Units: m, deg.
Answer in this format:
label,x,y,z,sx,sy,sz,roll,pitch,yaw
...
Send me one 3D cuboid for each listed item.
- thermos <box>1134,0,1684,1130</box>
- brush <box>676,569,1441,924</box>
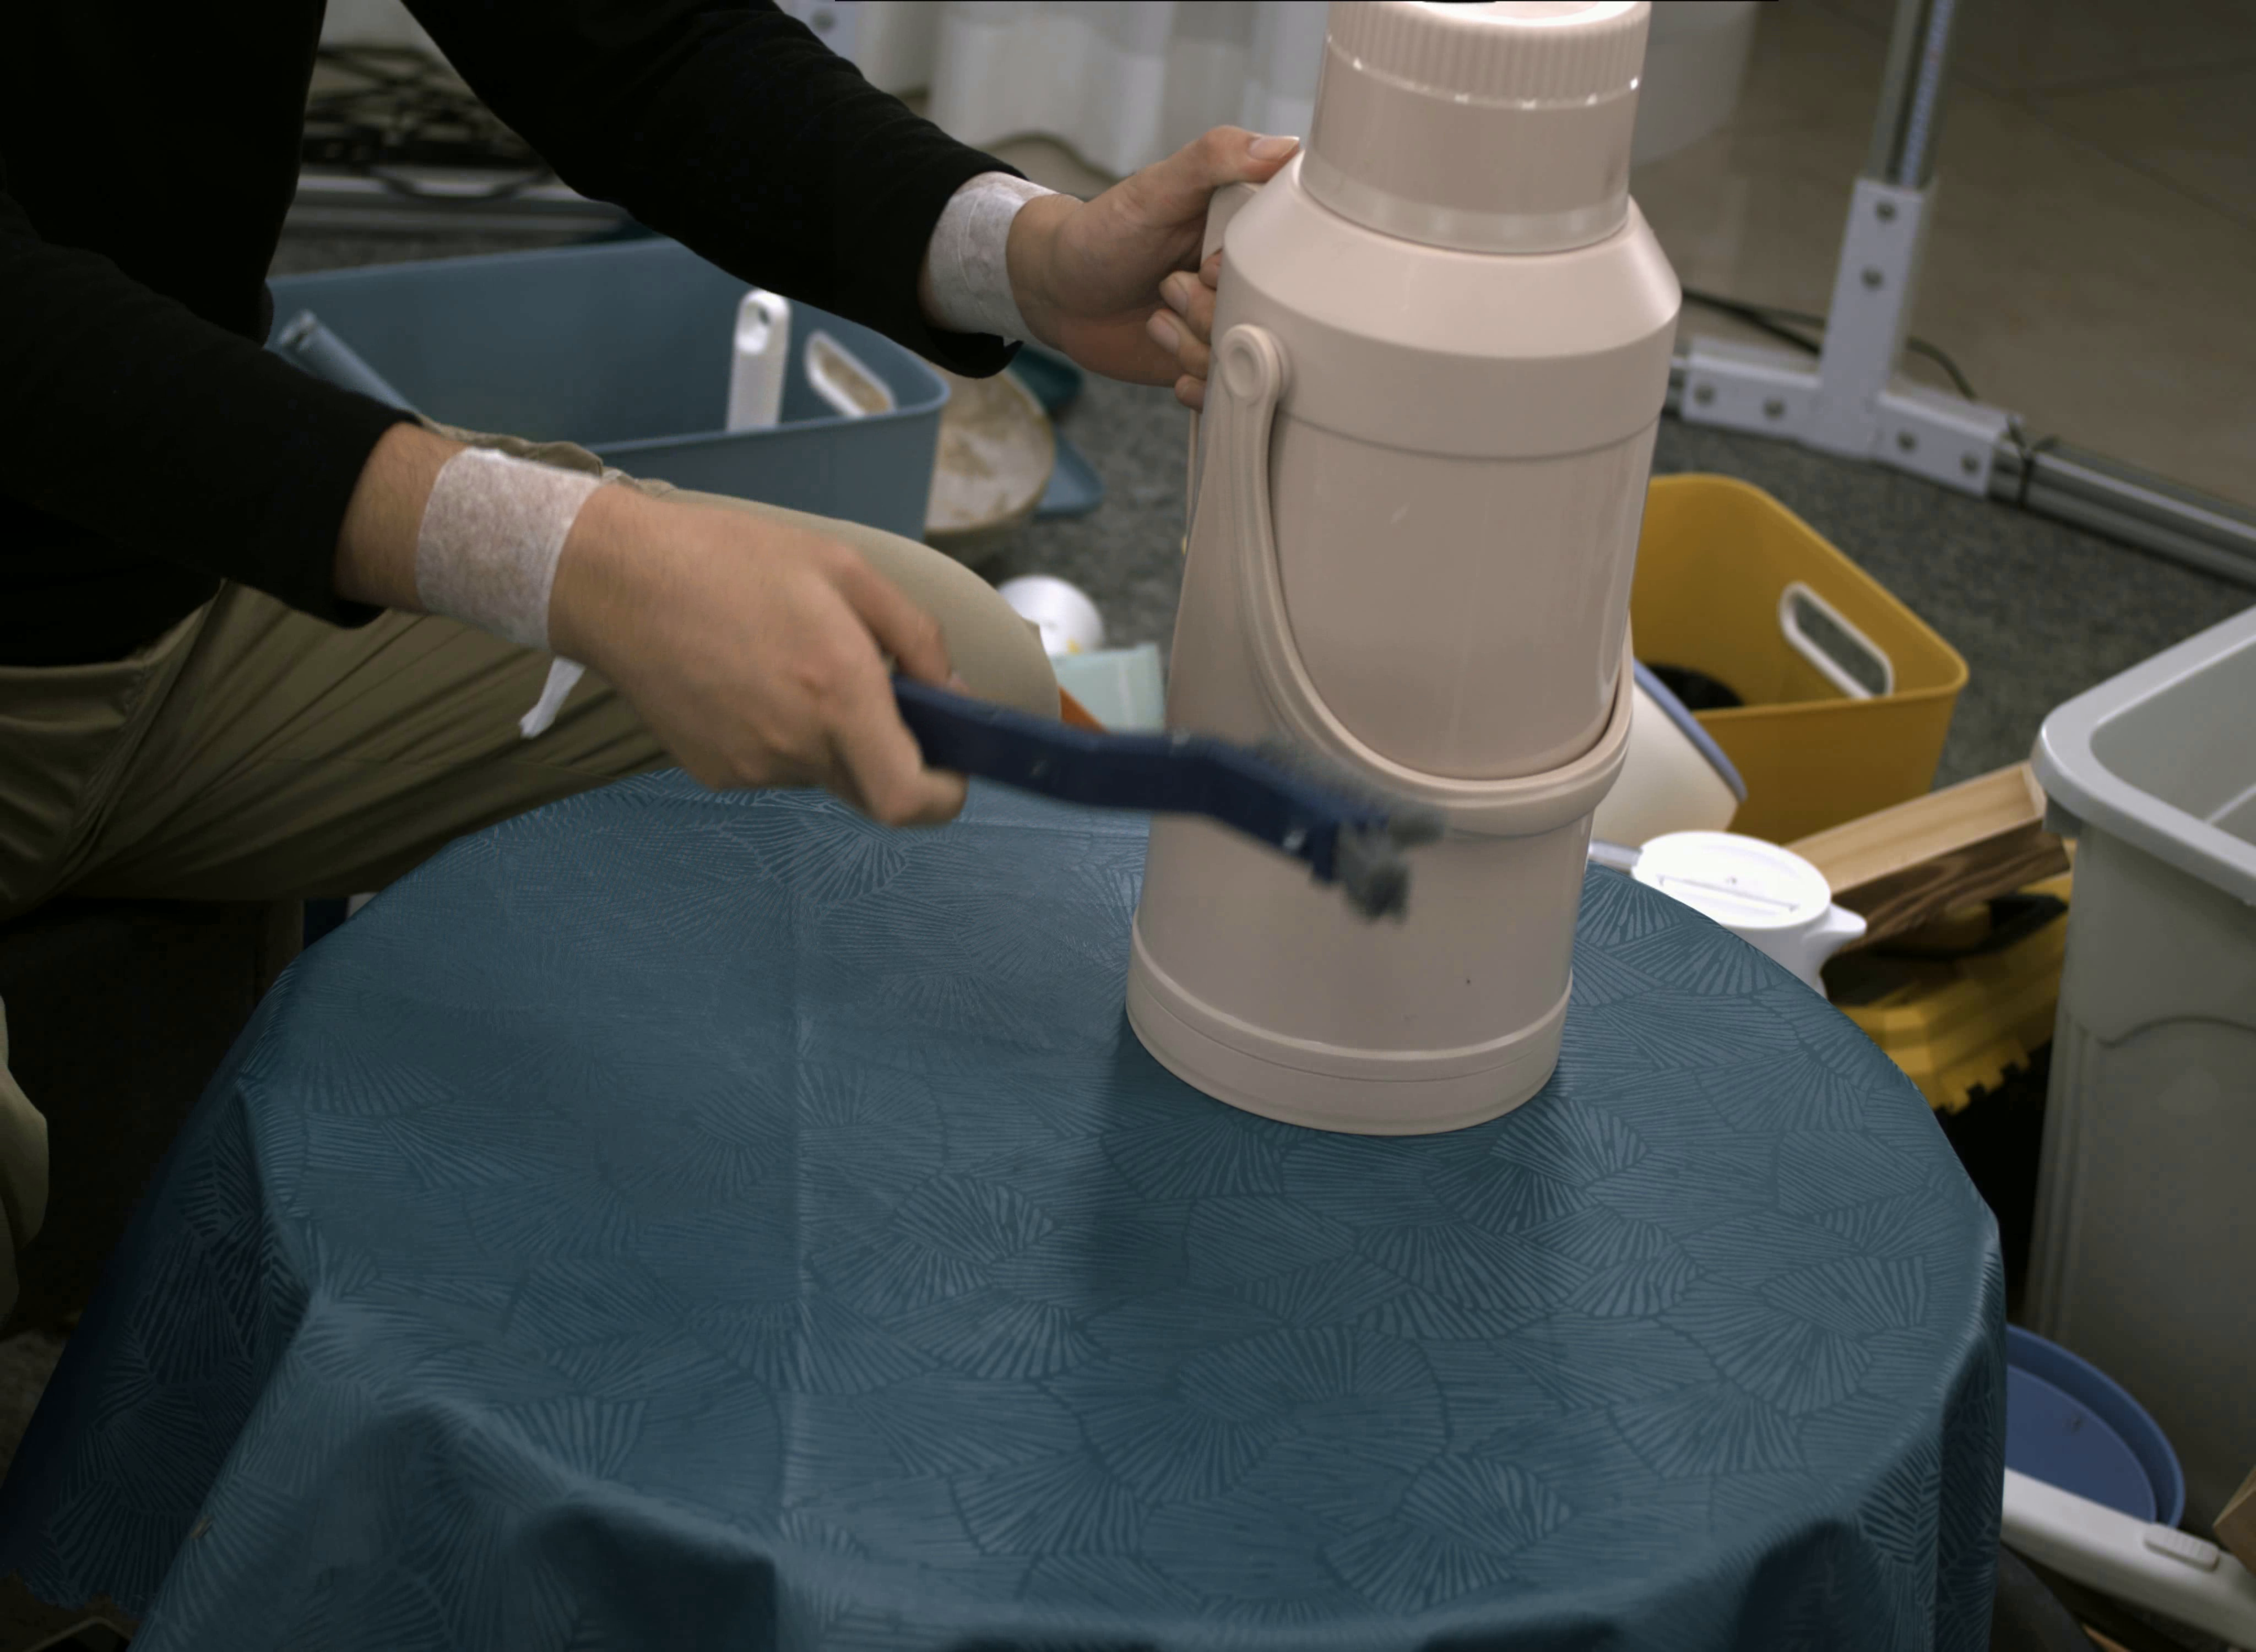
label,x,y,z,sx,sy,sz,roll,pitch,yaw
thermos,0.092,-0.111,1.846,0.174,0.405,0.209,-15,34,-34
brush,-0.032,-0.029,1.704,0.274,0.033,0.096,13,29,17
